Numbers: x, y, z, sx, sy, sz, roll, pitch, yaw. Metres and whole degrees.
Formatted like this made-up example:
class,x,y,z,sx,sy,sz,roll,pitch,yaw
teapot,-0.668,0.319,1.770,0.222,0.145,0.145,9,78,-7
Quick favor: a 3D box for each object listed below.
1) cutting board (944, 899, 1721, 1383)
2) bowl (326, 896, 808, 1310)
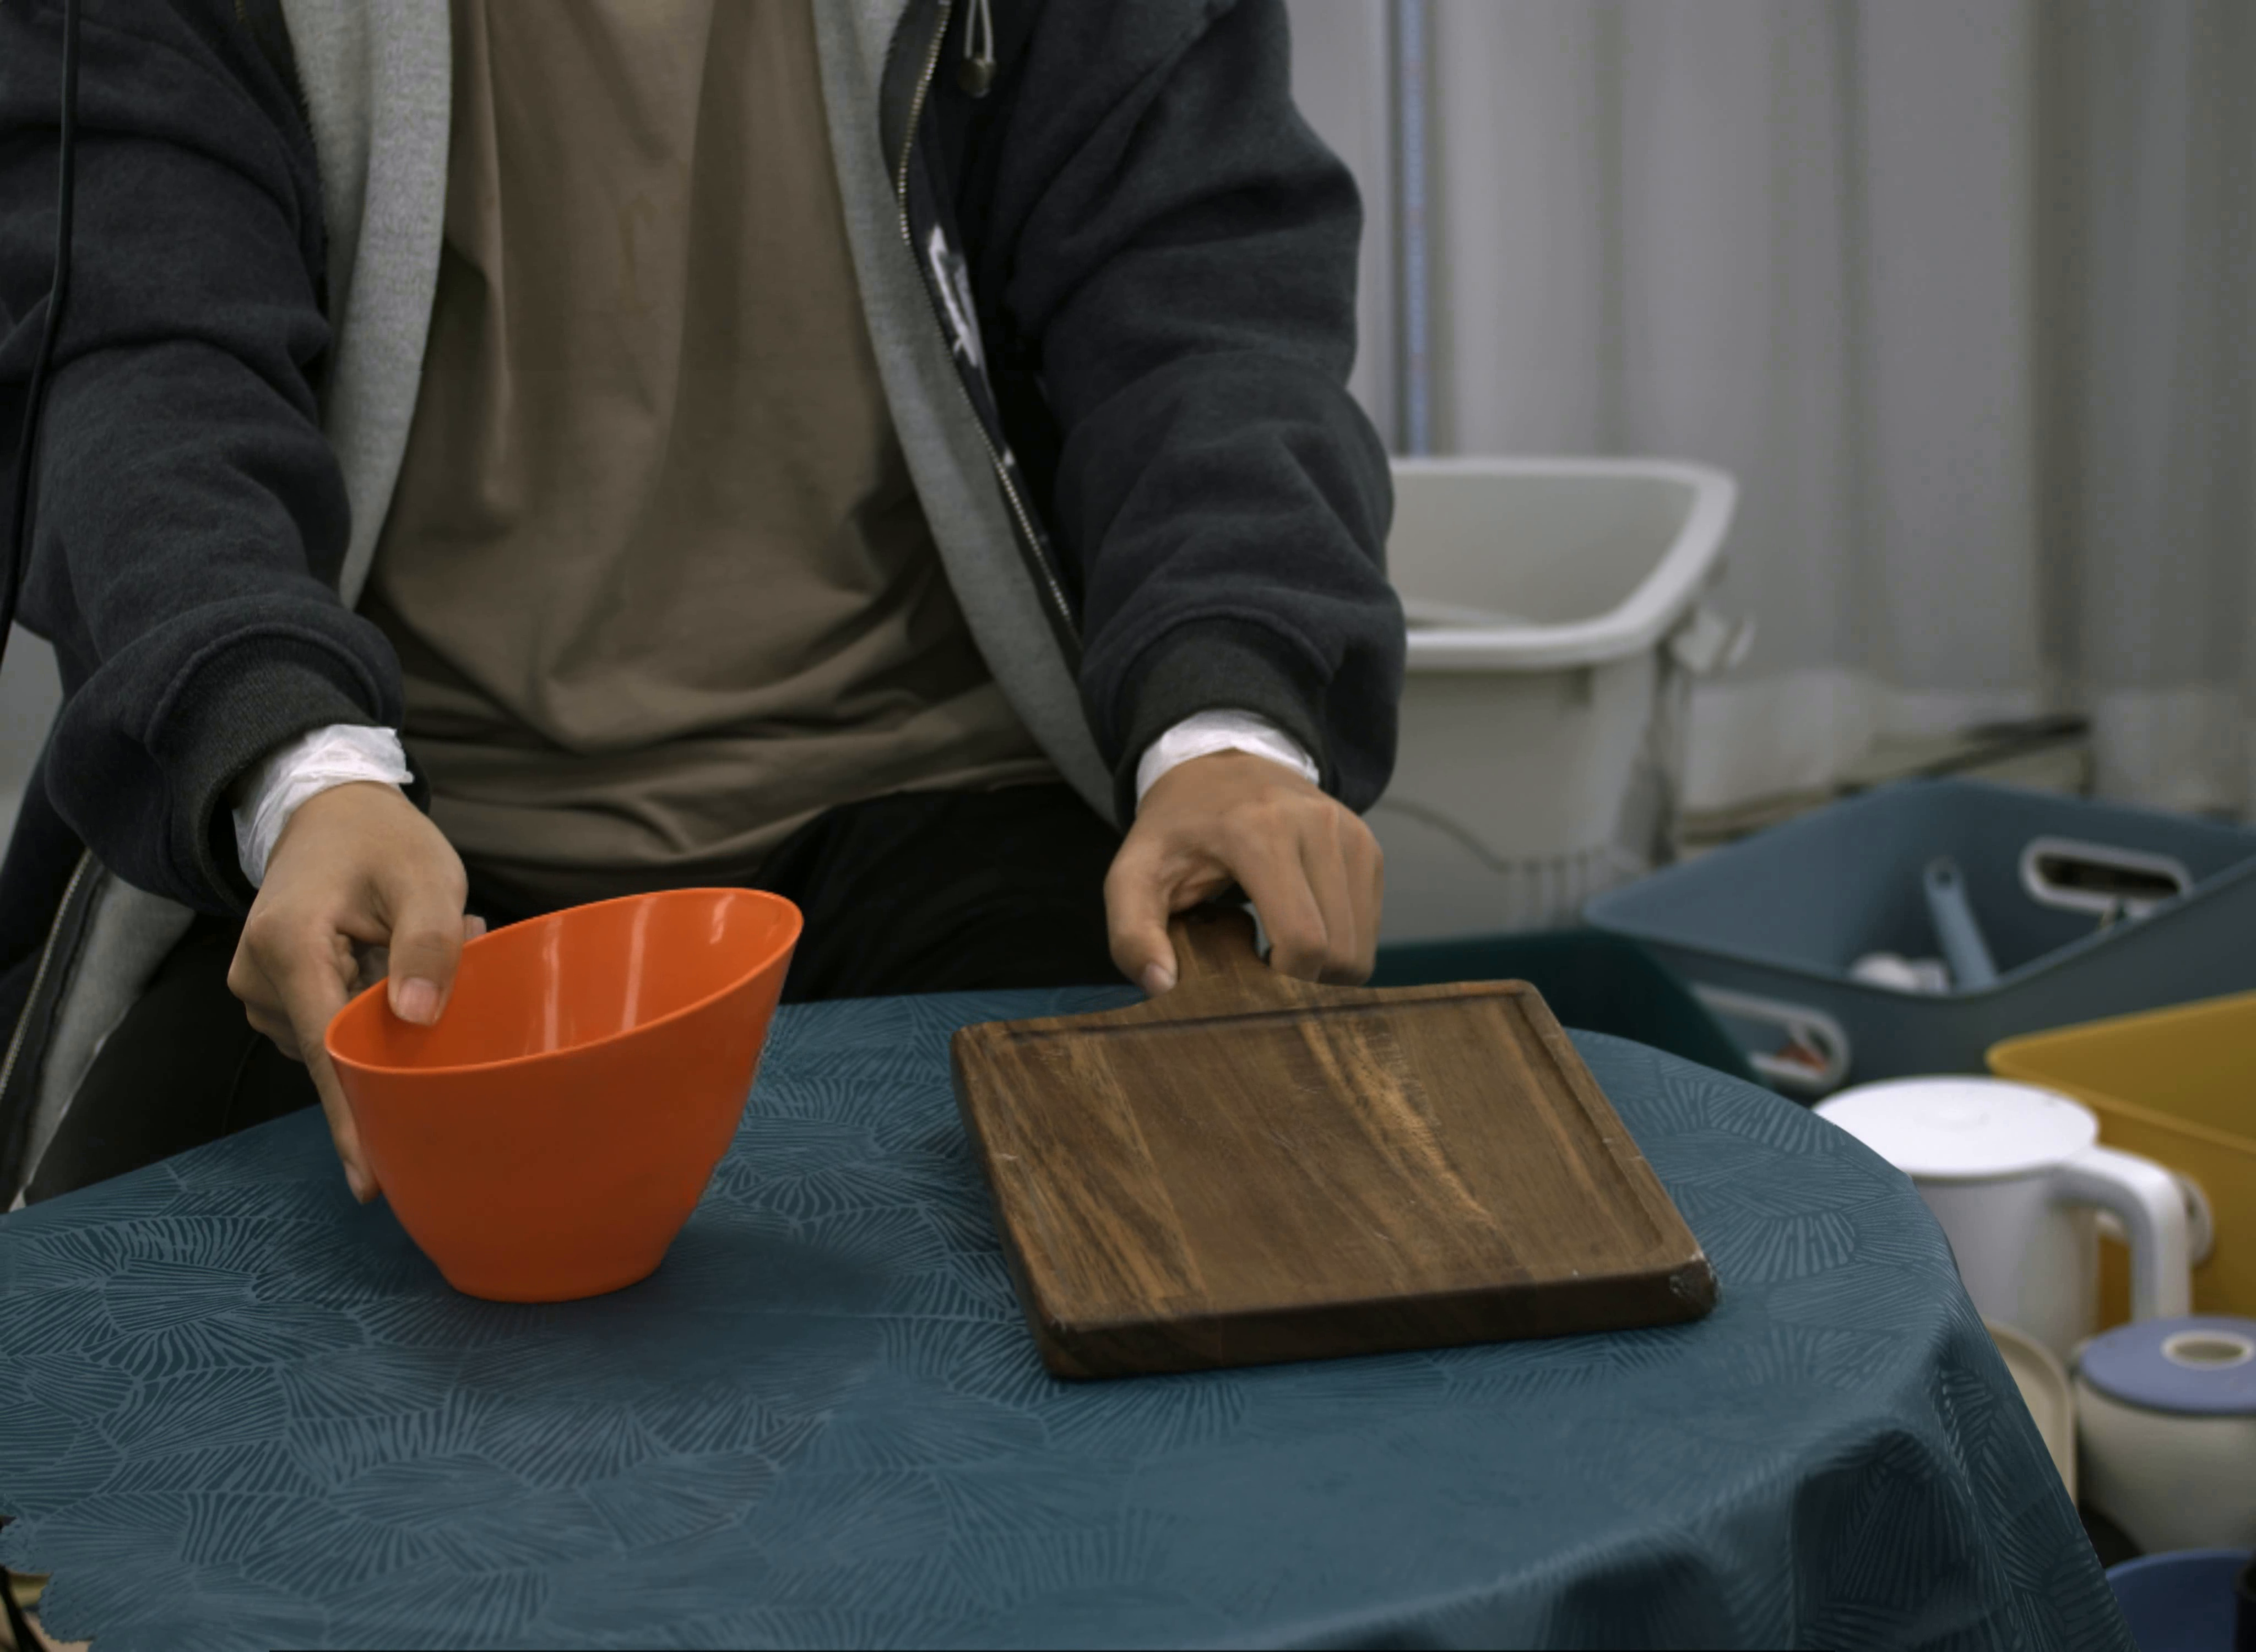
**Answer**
class,x,y,z,sx,sy,sz,roll,pitch,yaw
cutting board,0.049,0.089,1.725,0.200,0.023,0.355,-5,18,-7
bowl,-0.167,0.087,1.661,0.147,0.104,0.149,-3,14,1
